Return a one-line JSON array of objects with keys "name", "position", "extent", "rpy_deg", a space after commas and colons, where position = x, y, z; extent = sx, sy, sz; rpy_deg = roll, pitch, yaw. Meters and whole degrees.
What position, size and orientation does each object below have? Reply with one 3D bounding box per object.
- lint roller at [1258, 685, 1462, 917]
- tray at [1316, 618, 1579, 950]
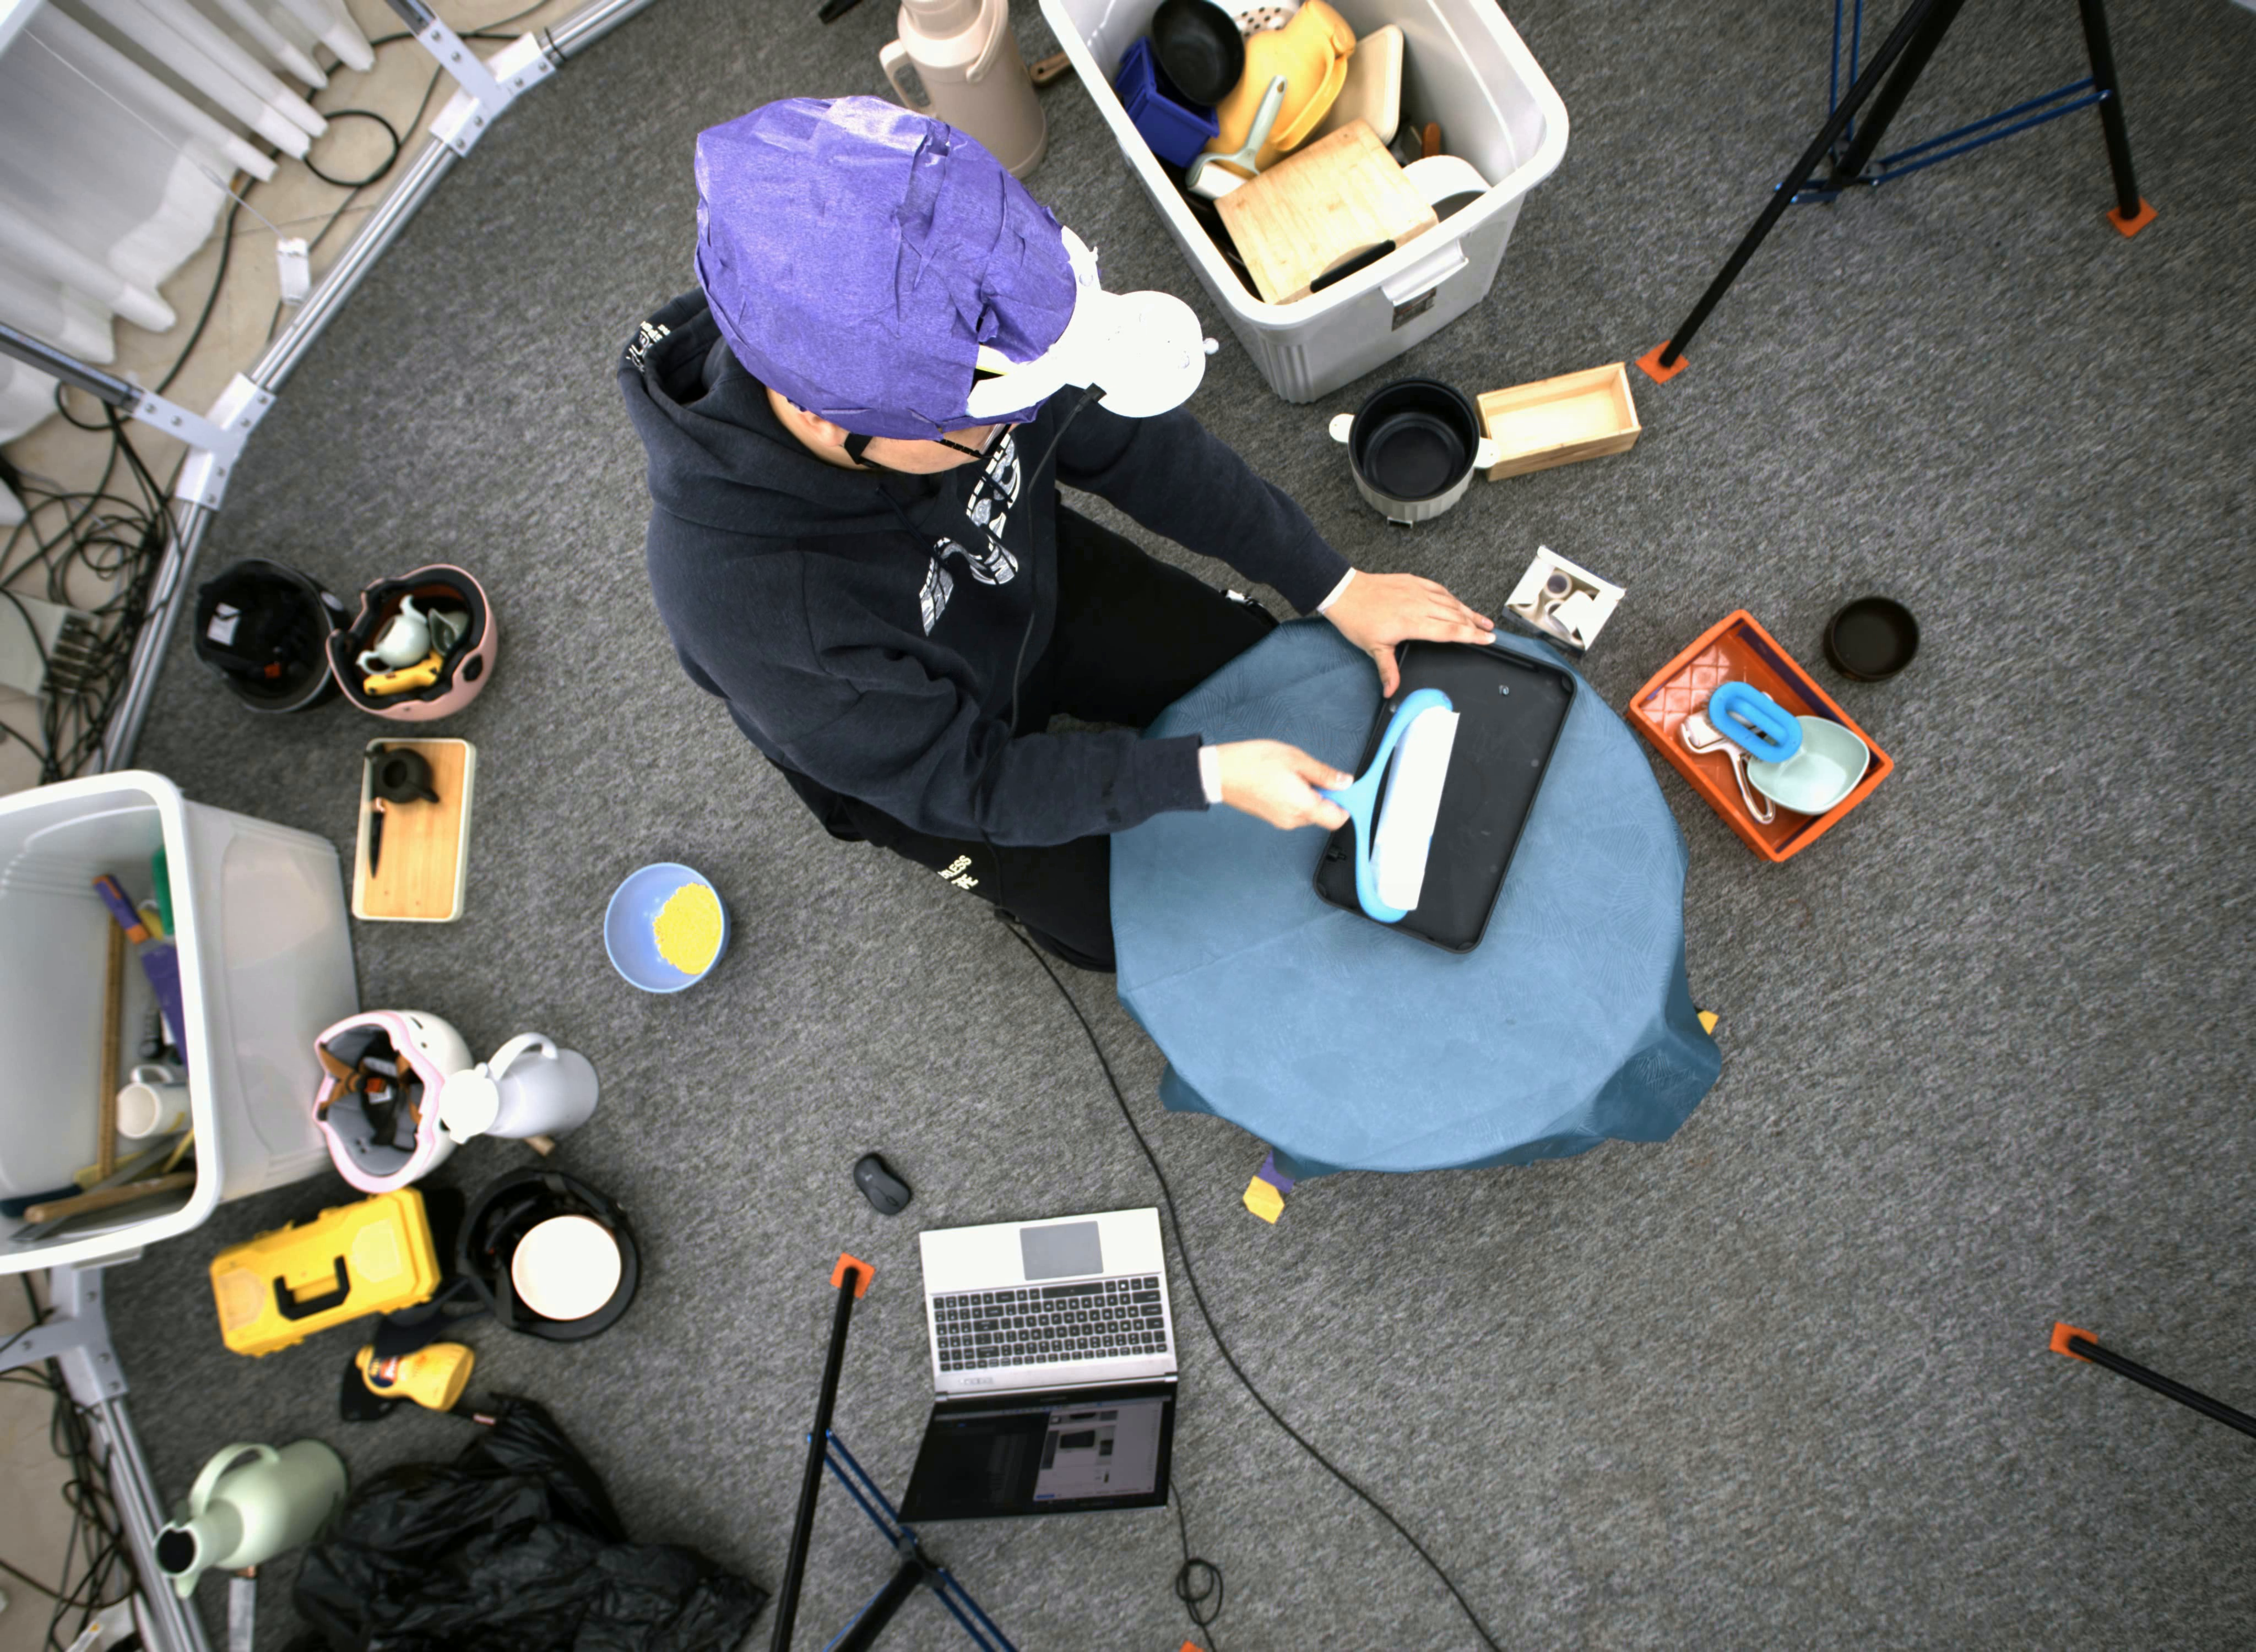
[{"name": "lint roller", "position": [0.217, -0.033, 1.323], "extent": [0.180, 0.067, 0.231], "rpy_deg": [8, 102, -9]}, {"name": "tray", "position": [0.333, -0.046, 1.441], "extent": [0.184, 0.037, 0.318], "rpy_deg": [21, 93, 11]}]
